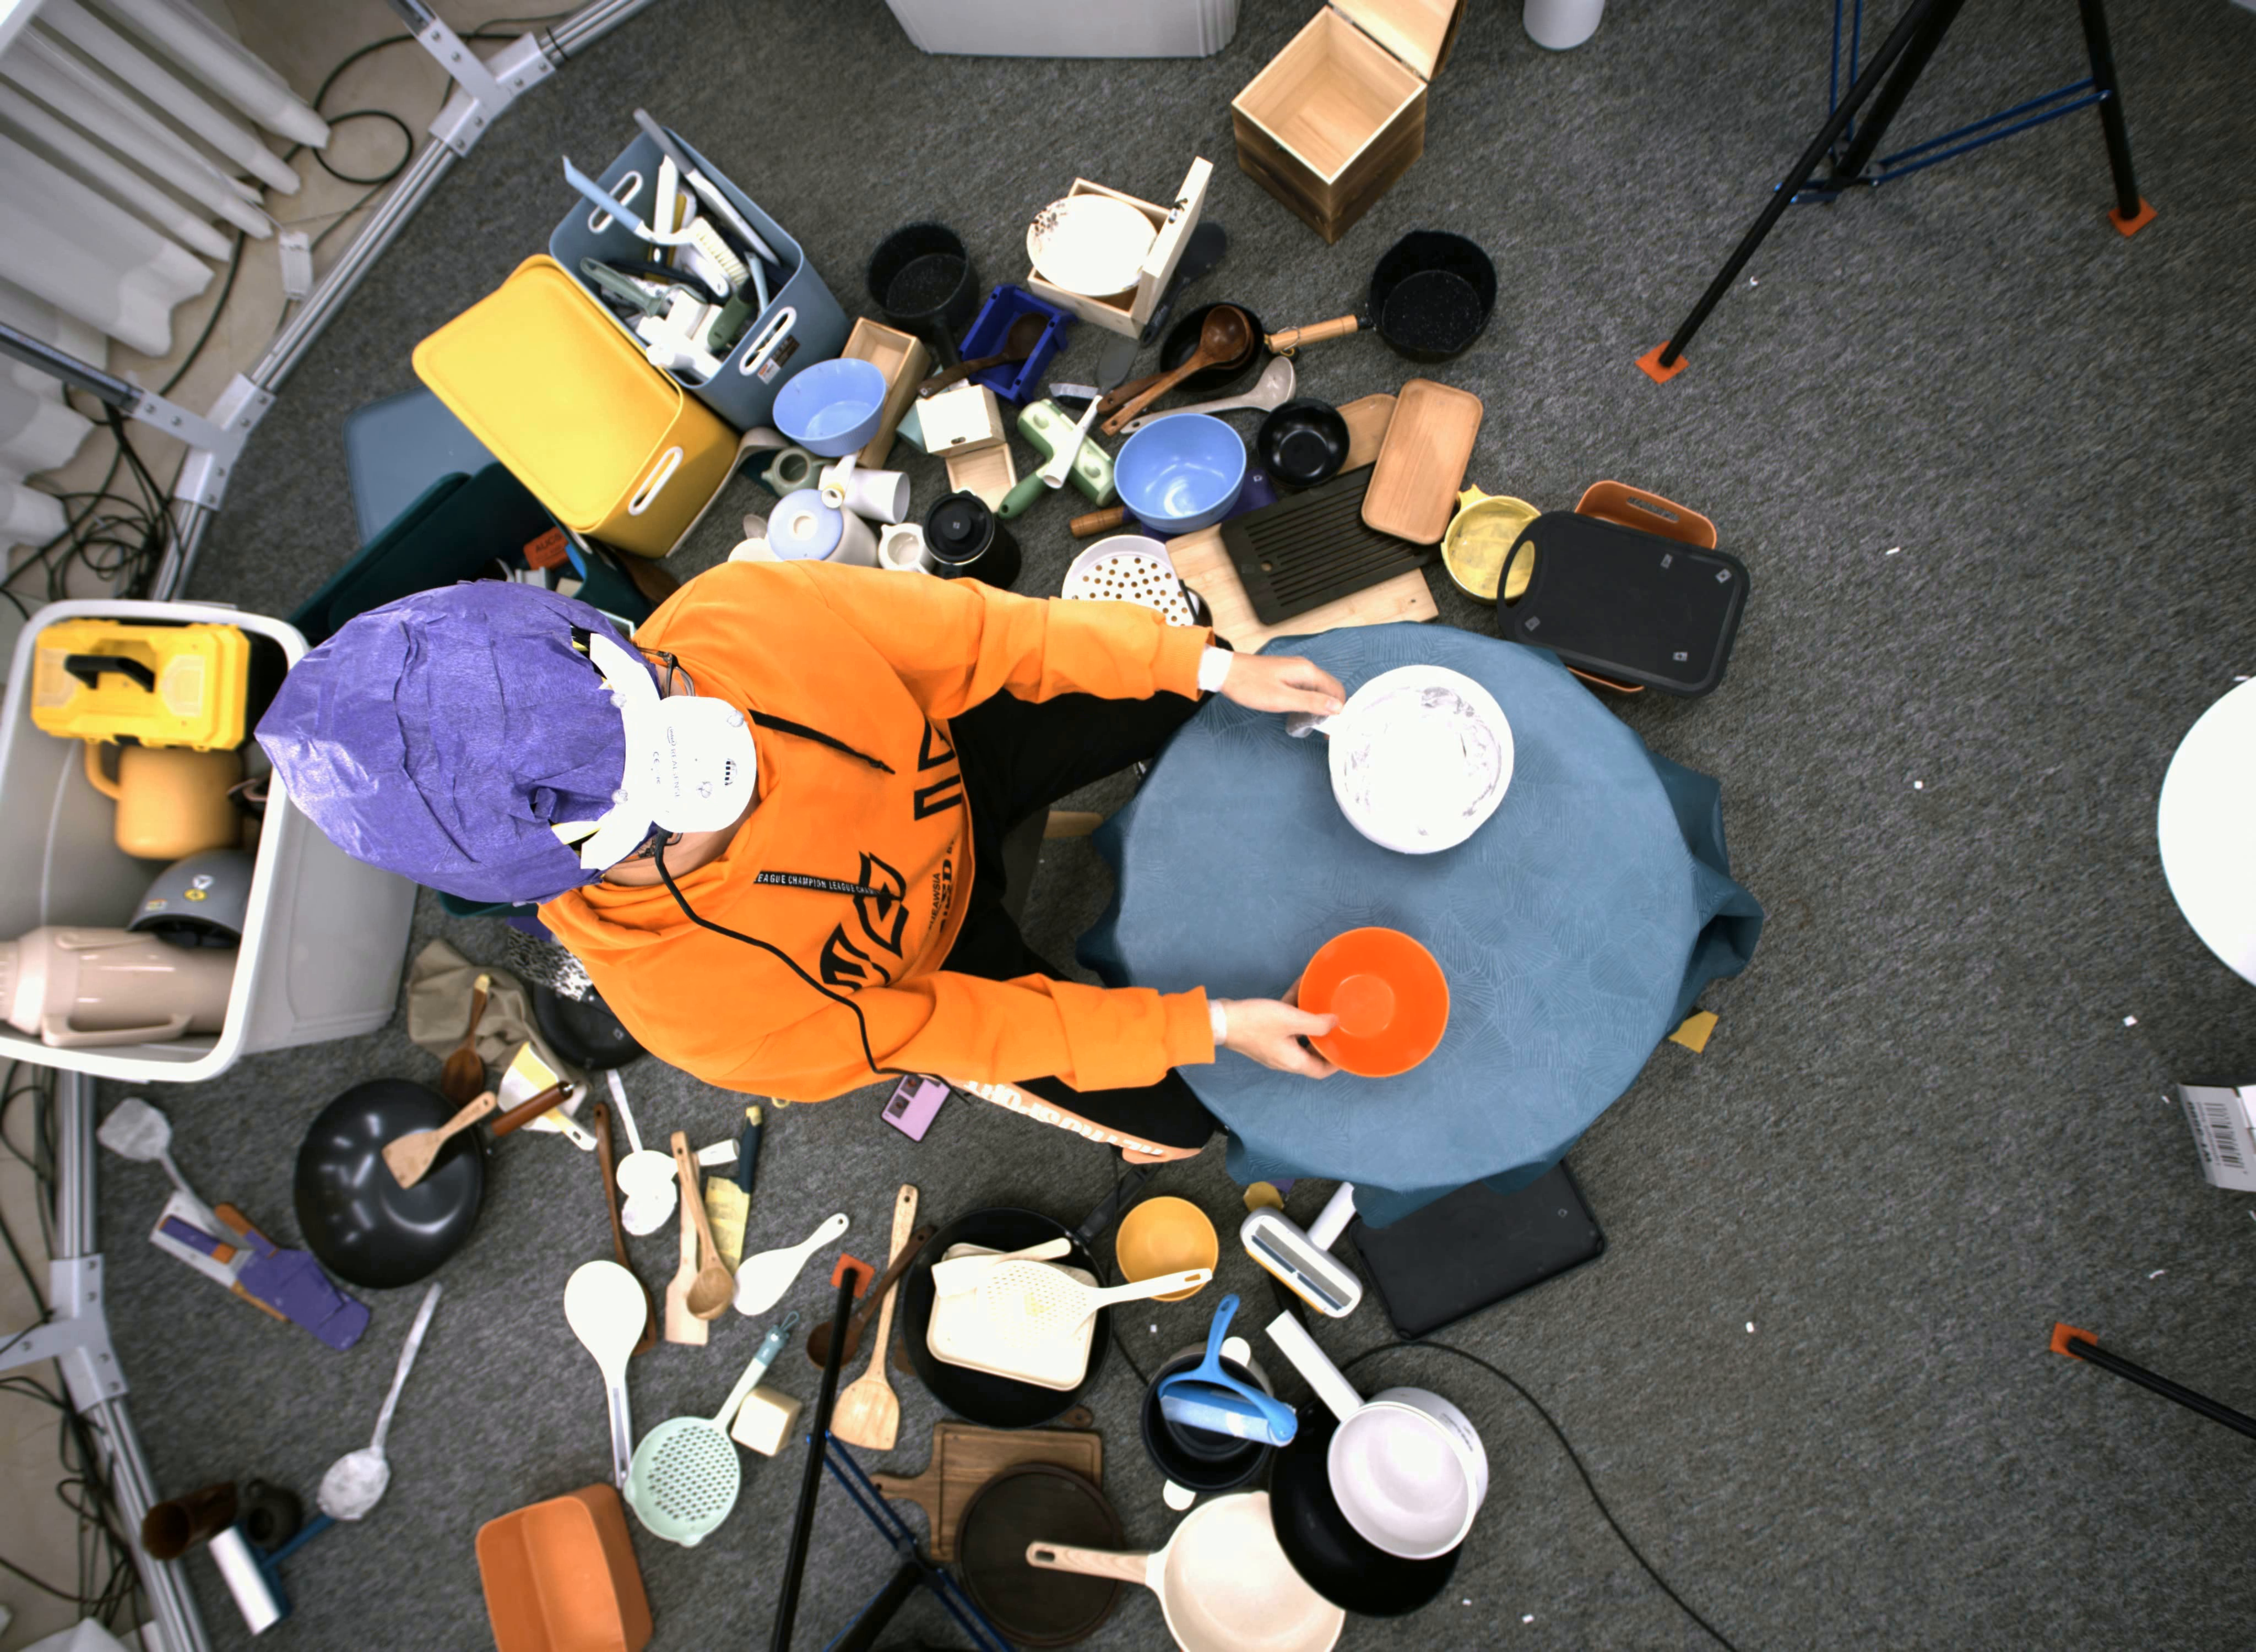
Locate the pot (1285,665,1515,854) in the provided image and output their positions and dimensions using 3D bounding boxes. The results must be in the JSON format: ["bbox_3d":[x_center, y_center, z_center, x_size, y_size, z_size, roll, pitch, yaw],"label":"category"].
[{"bbox_3d":[0.269,-0.074,1.399,0.233,0.137,0.178,22,89,11],"label":"pot"}]

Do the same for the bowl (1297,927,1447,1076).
[{"bbox_3d":[0.248,0.177,1.410,0.148,0.104,0.147,-1,86,11],"label":"bowl"}]
